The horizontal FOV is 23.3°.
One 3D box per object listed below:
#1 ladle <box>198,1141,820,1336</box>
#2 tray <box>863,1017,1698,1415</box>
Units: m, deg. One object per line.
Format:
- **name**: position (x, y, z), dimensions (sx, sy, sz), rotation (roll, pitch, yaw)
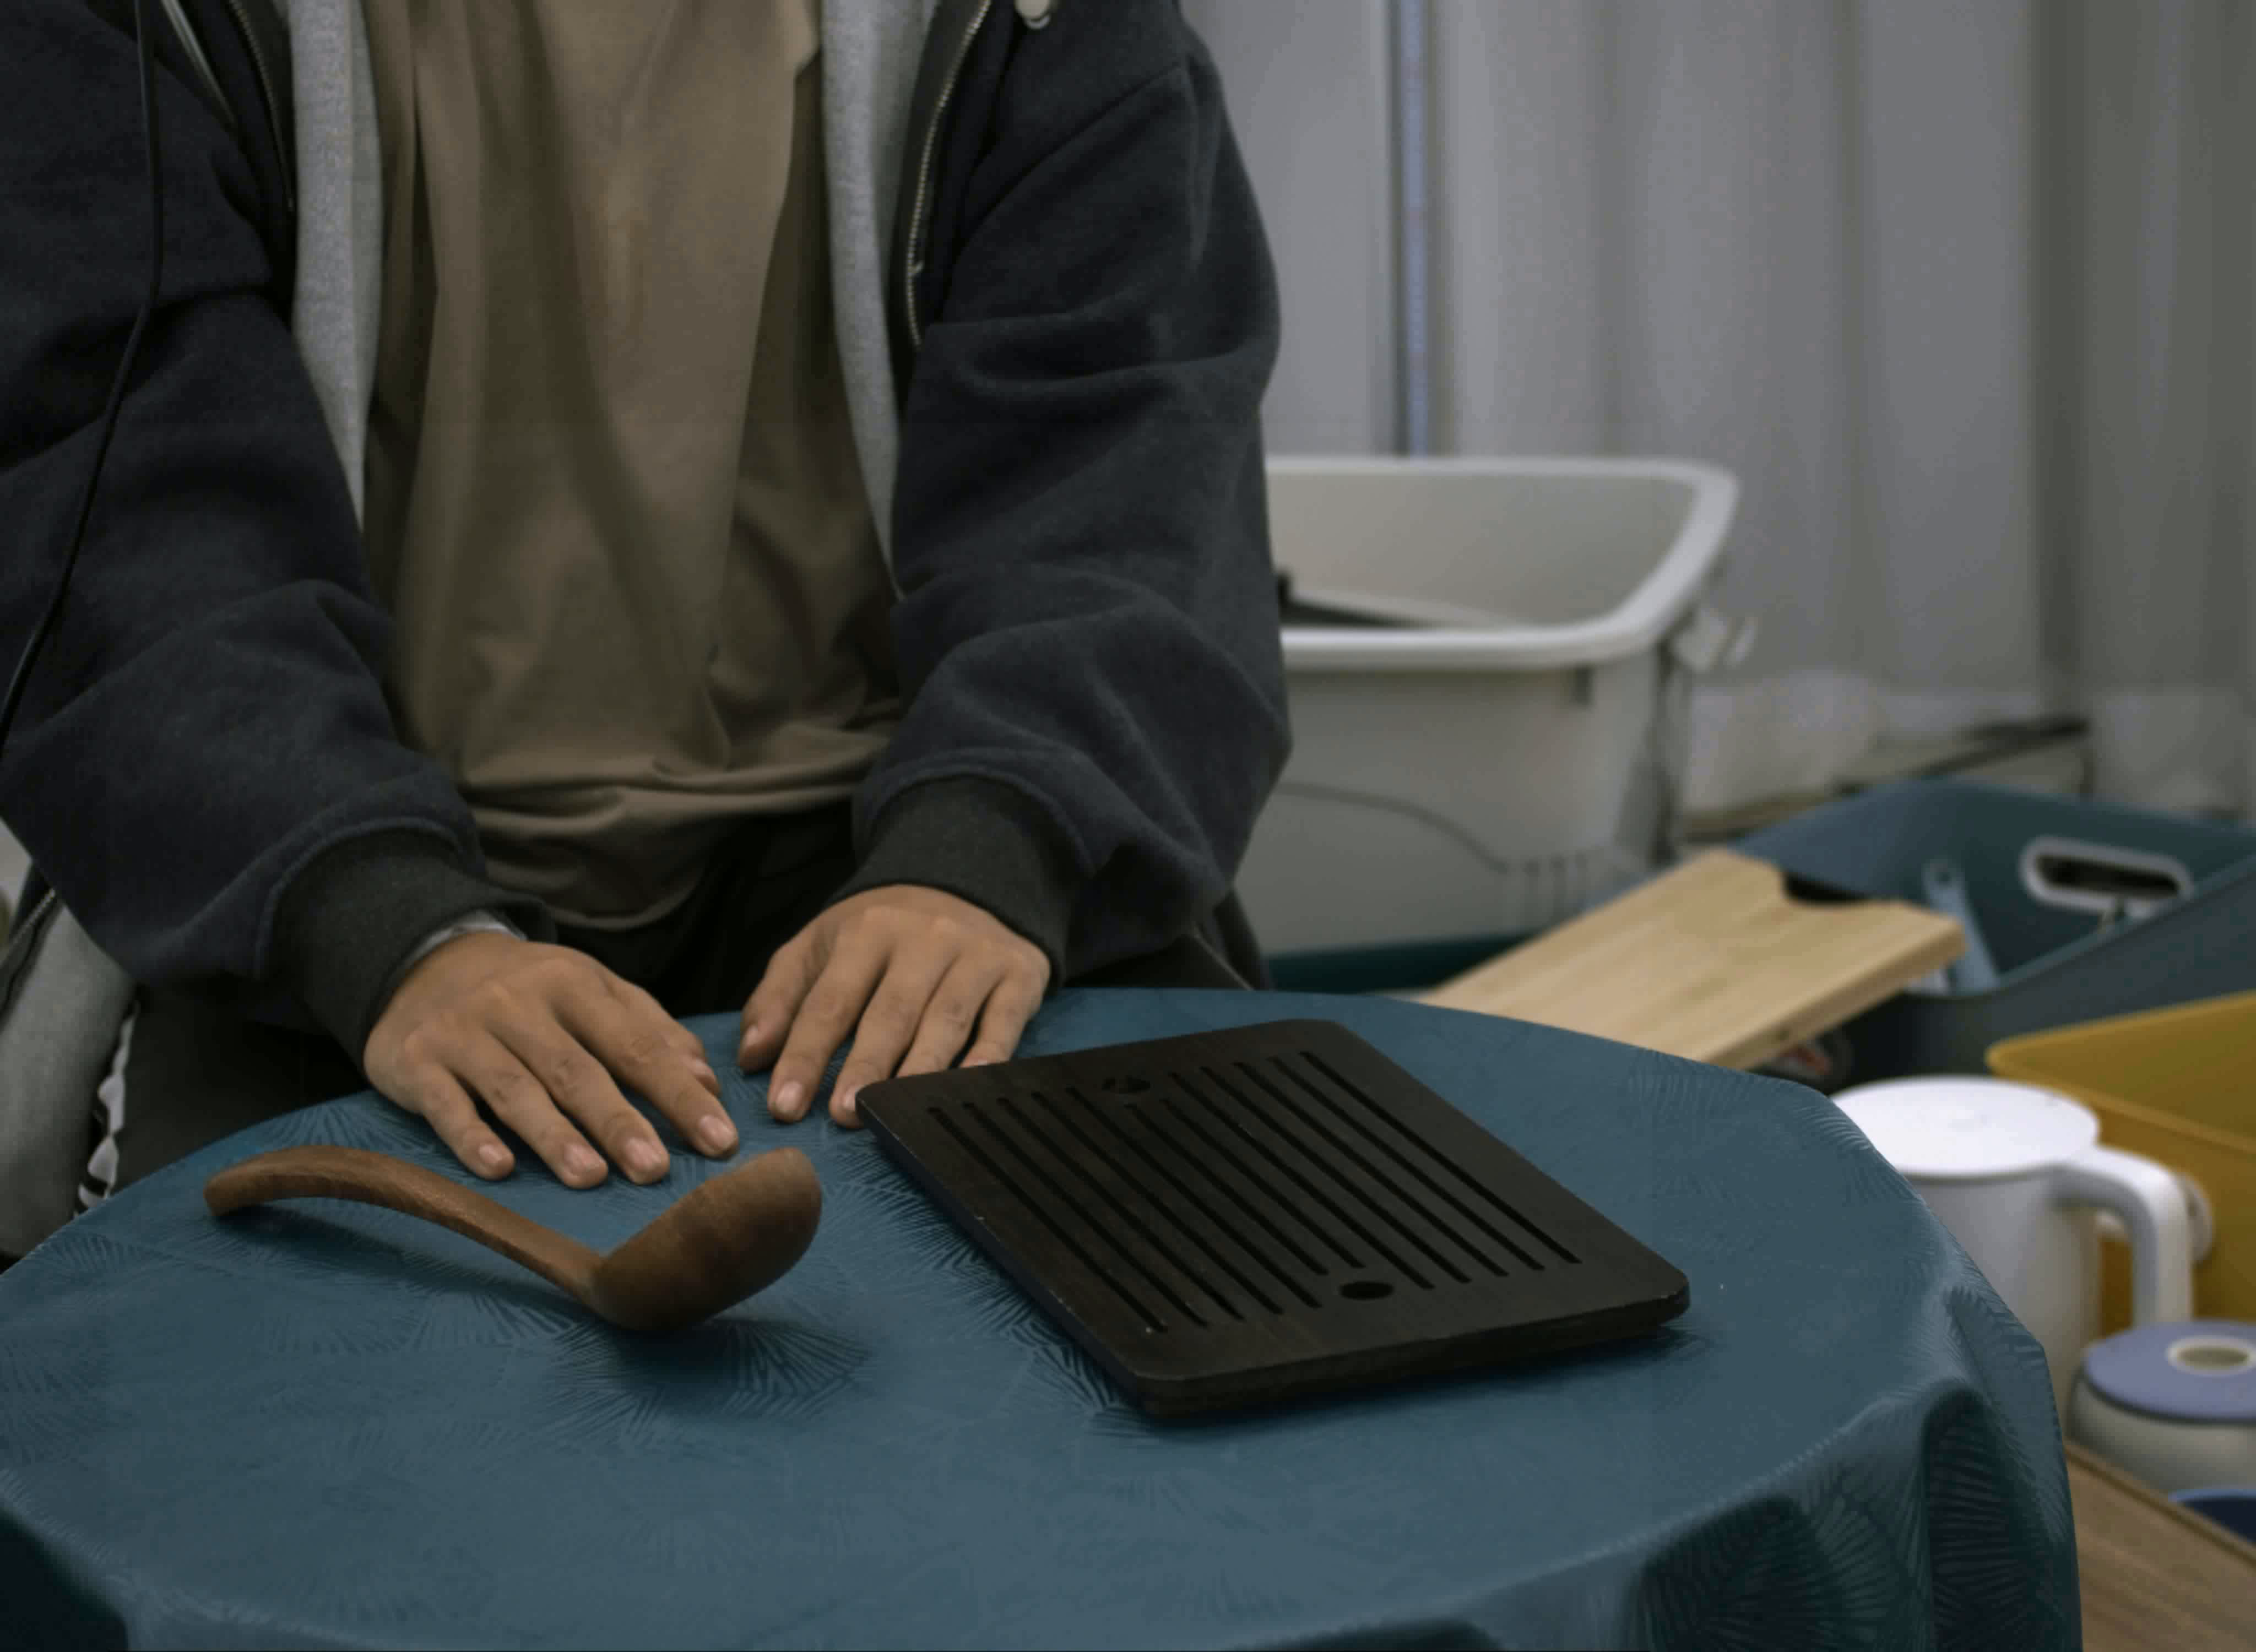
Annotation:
- **ladle**: position (-0.196, 0.108, 1.655), dimensions (0.261, 0.065, 0.076), rotation (10, 19, 41)
- **tray**: position (0.039, 0.115, 1.671), dimensions (0.169, 0.018, 0.308), rotation (-8, 15, -17)
